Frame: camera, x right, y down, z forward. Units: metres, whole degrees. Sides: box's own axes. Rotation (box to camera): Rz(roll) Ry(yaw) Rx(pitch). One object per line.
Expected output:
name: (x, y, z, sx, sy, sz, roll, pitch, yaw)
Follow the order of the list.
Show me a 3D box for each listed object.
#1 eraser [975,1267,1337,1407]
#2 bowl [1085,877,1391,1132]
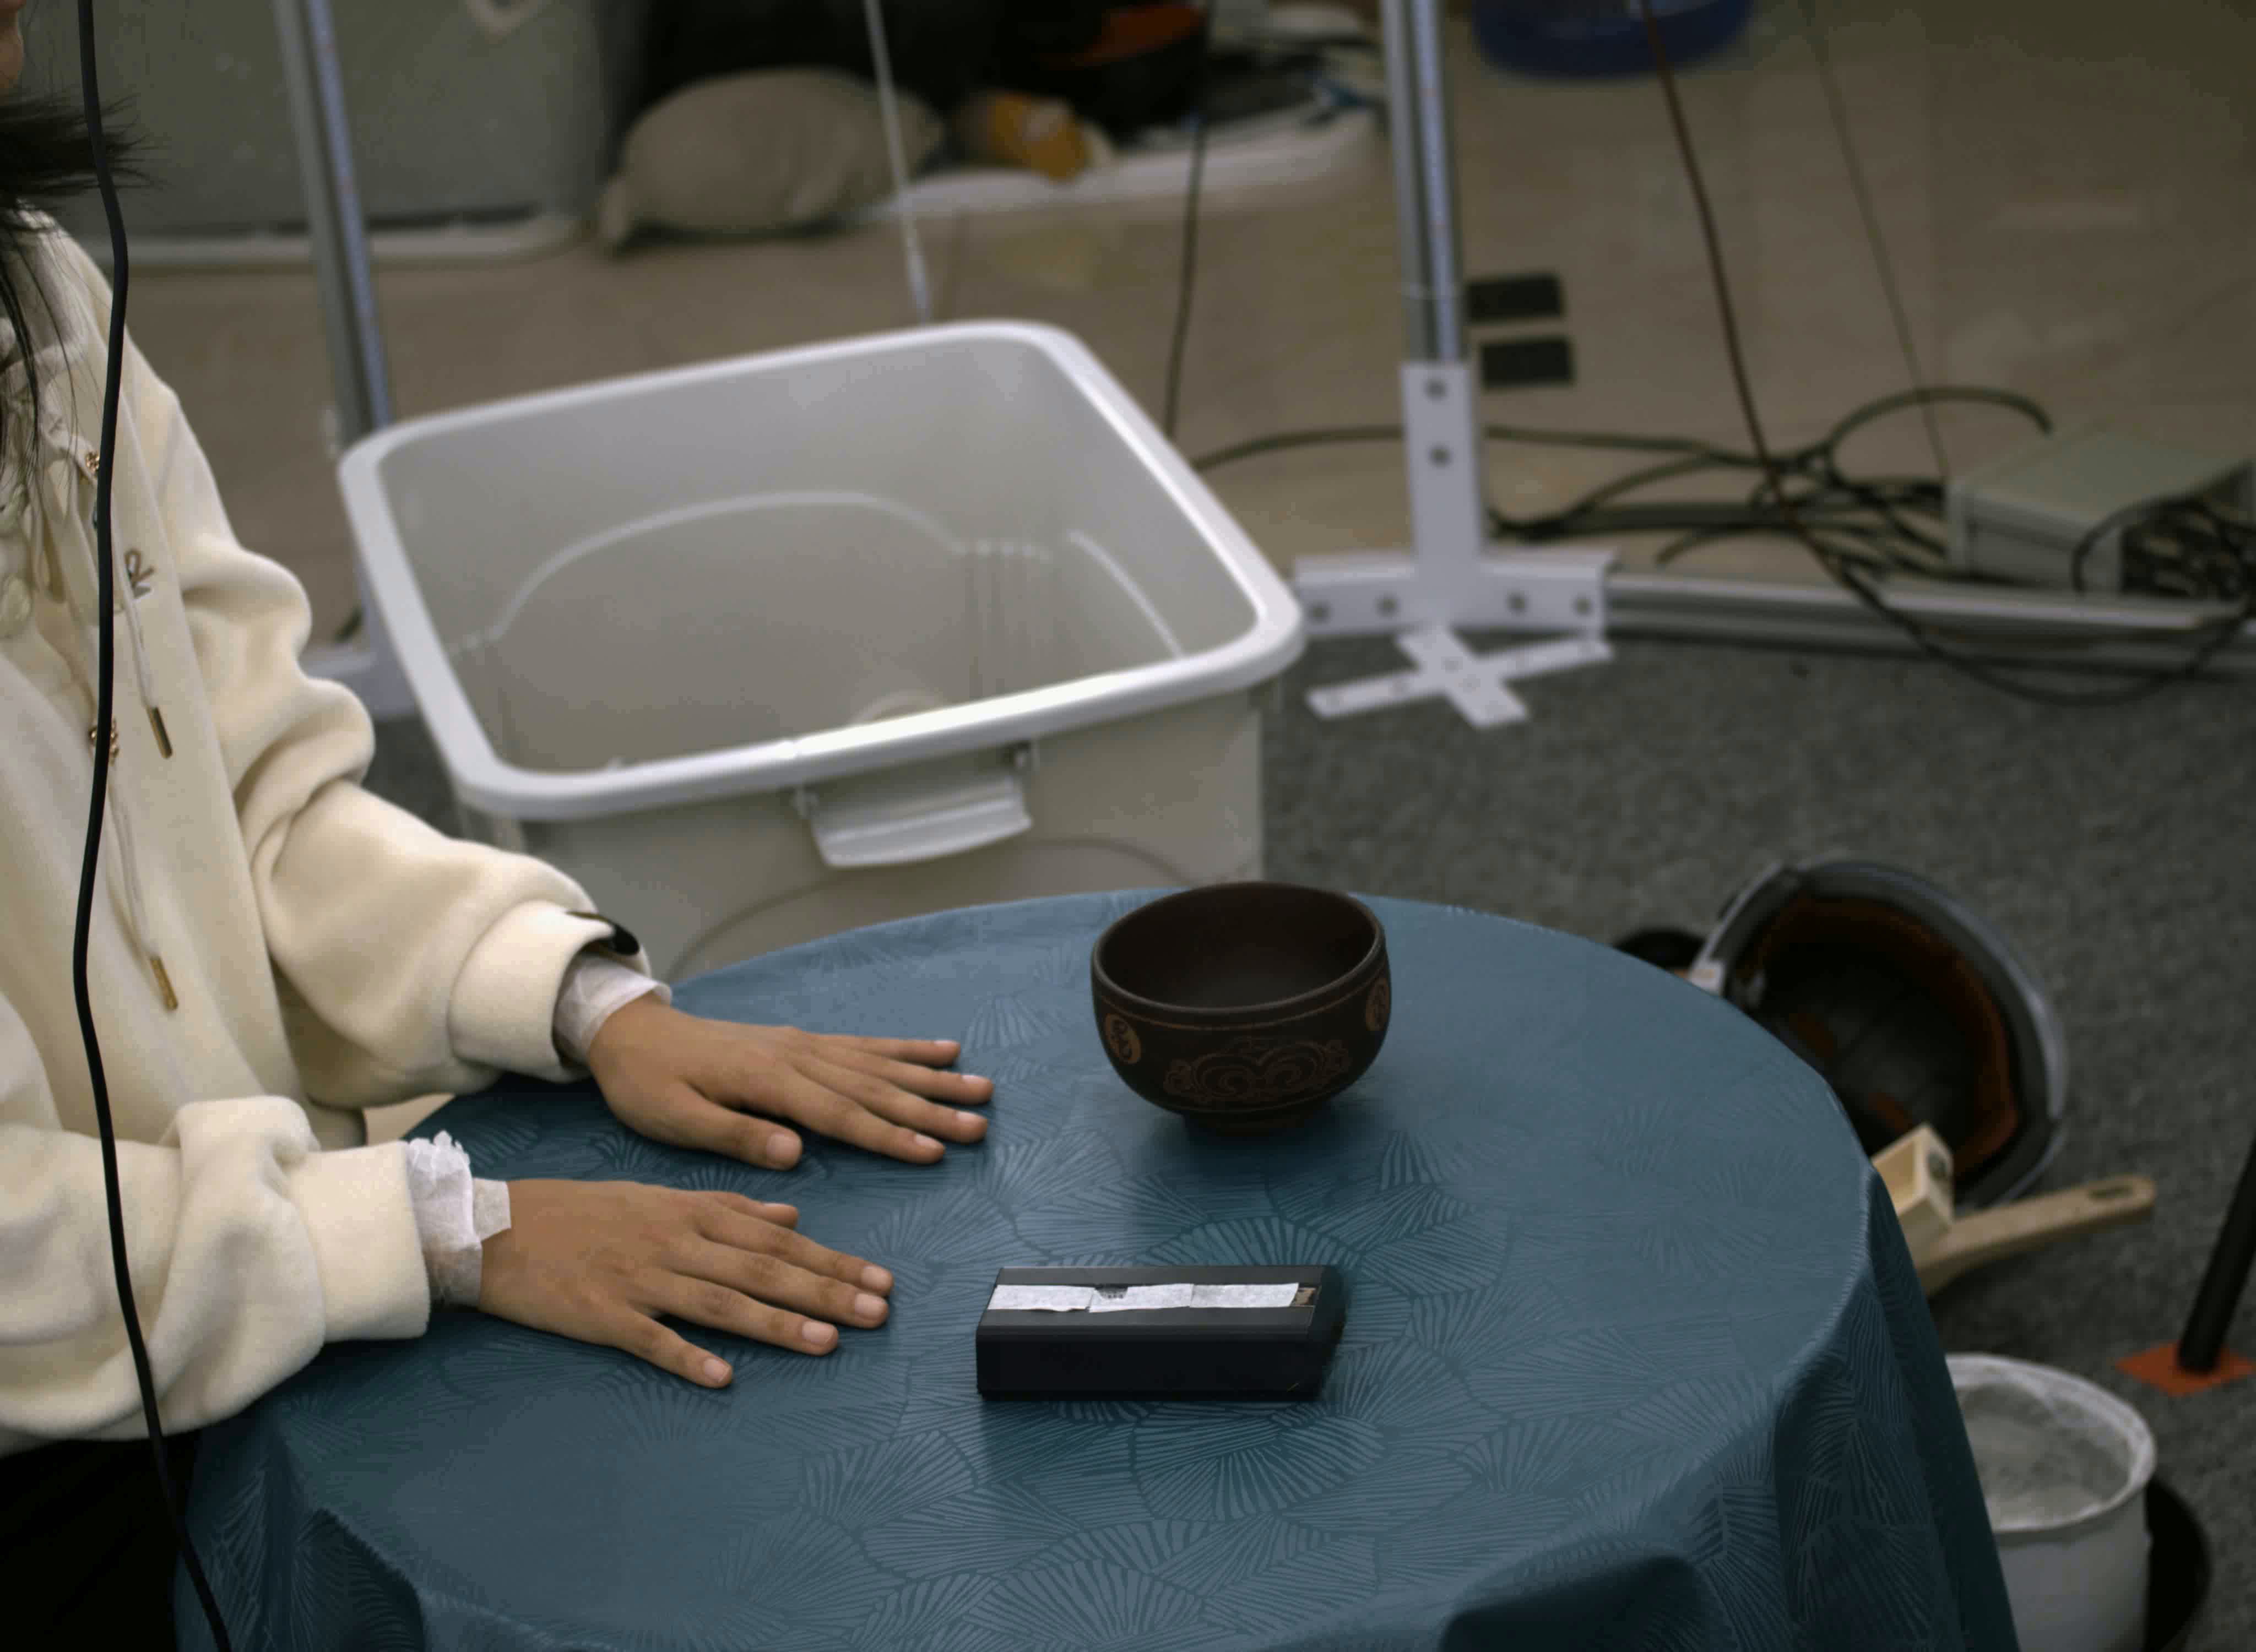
eraser: (0.011, 0.182, 2.022, 0.125, 0.031, 0.053, -3, 24, 12)
bowl: (0.044, 0.075, 2.188, 0.118, 0.071, 0.116, -6, 25, 3)
